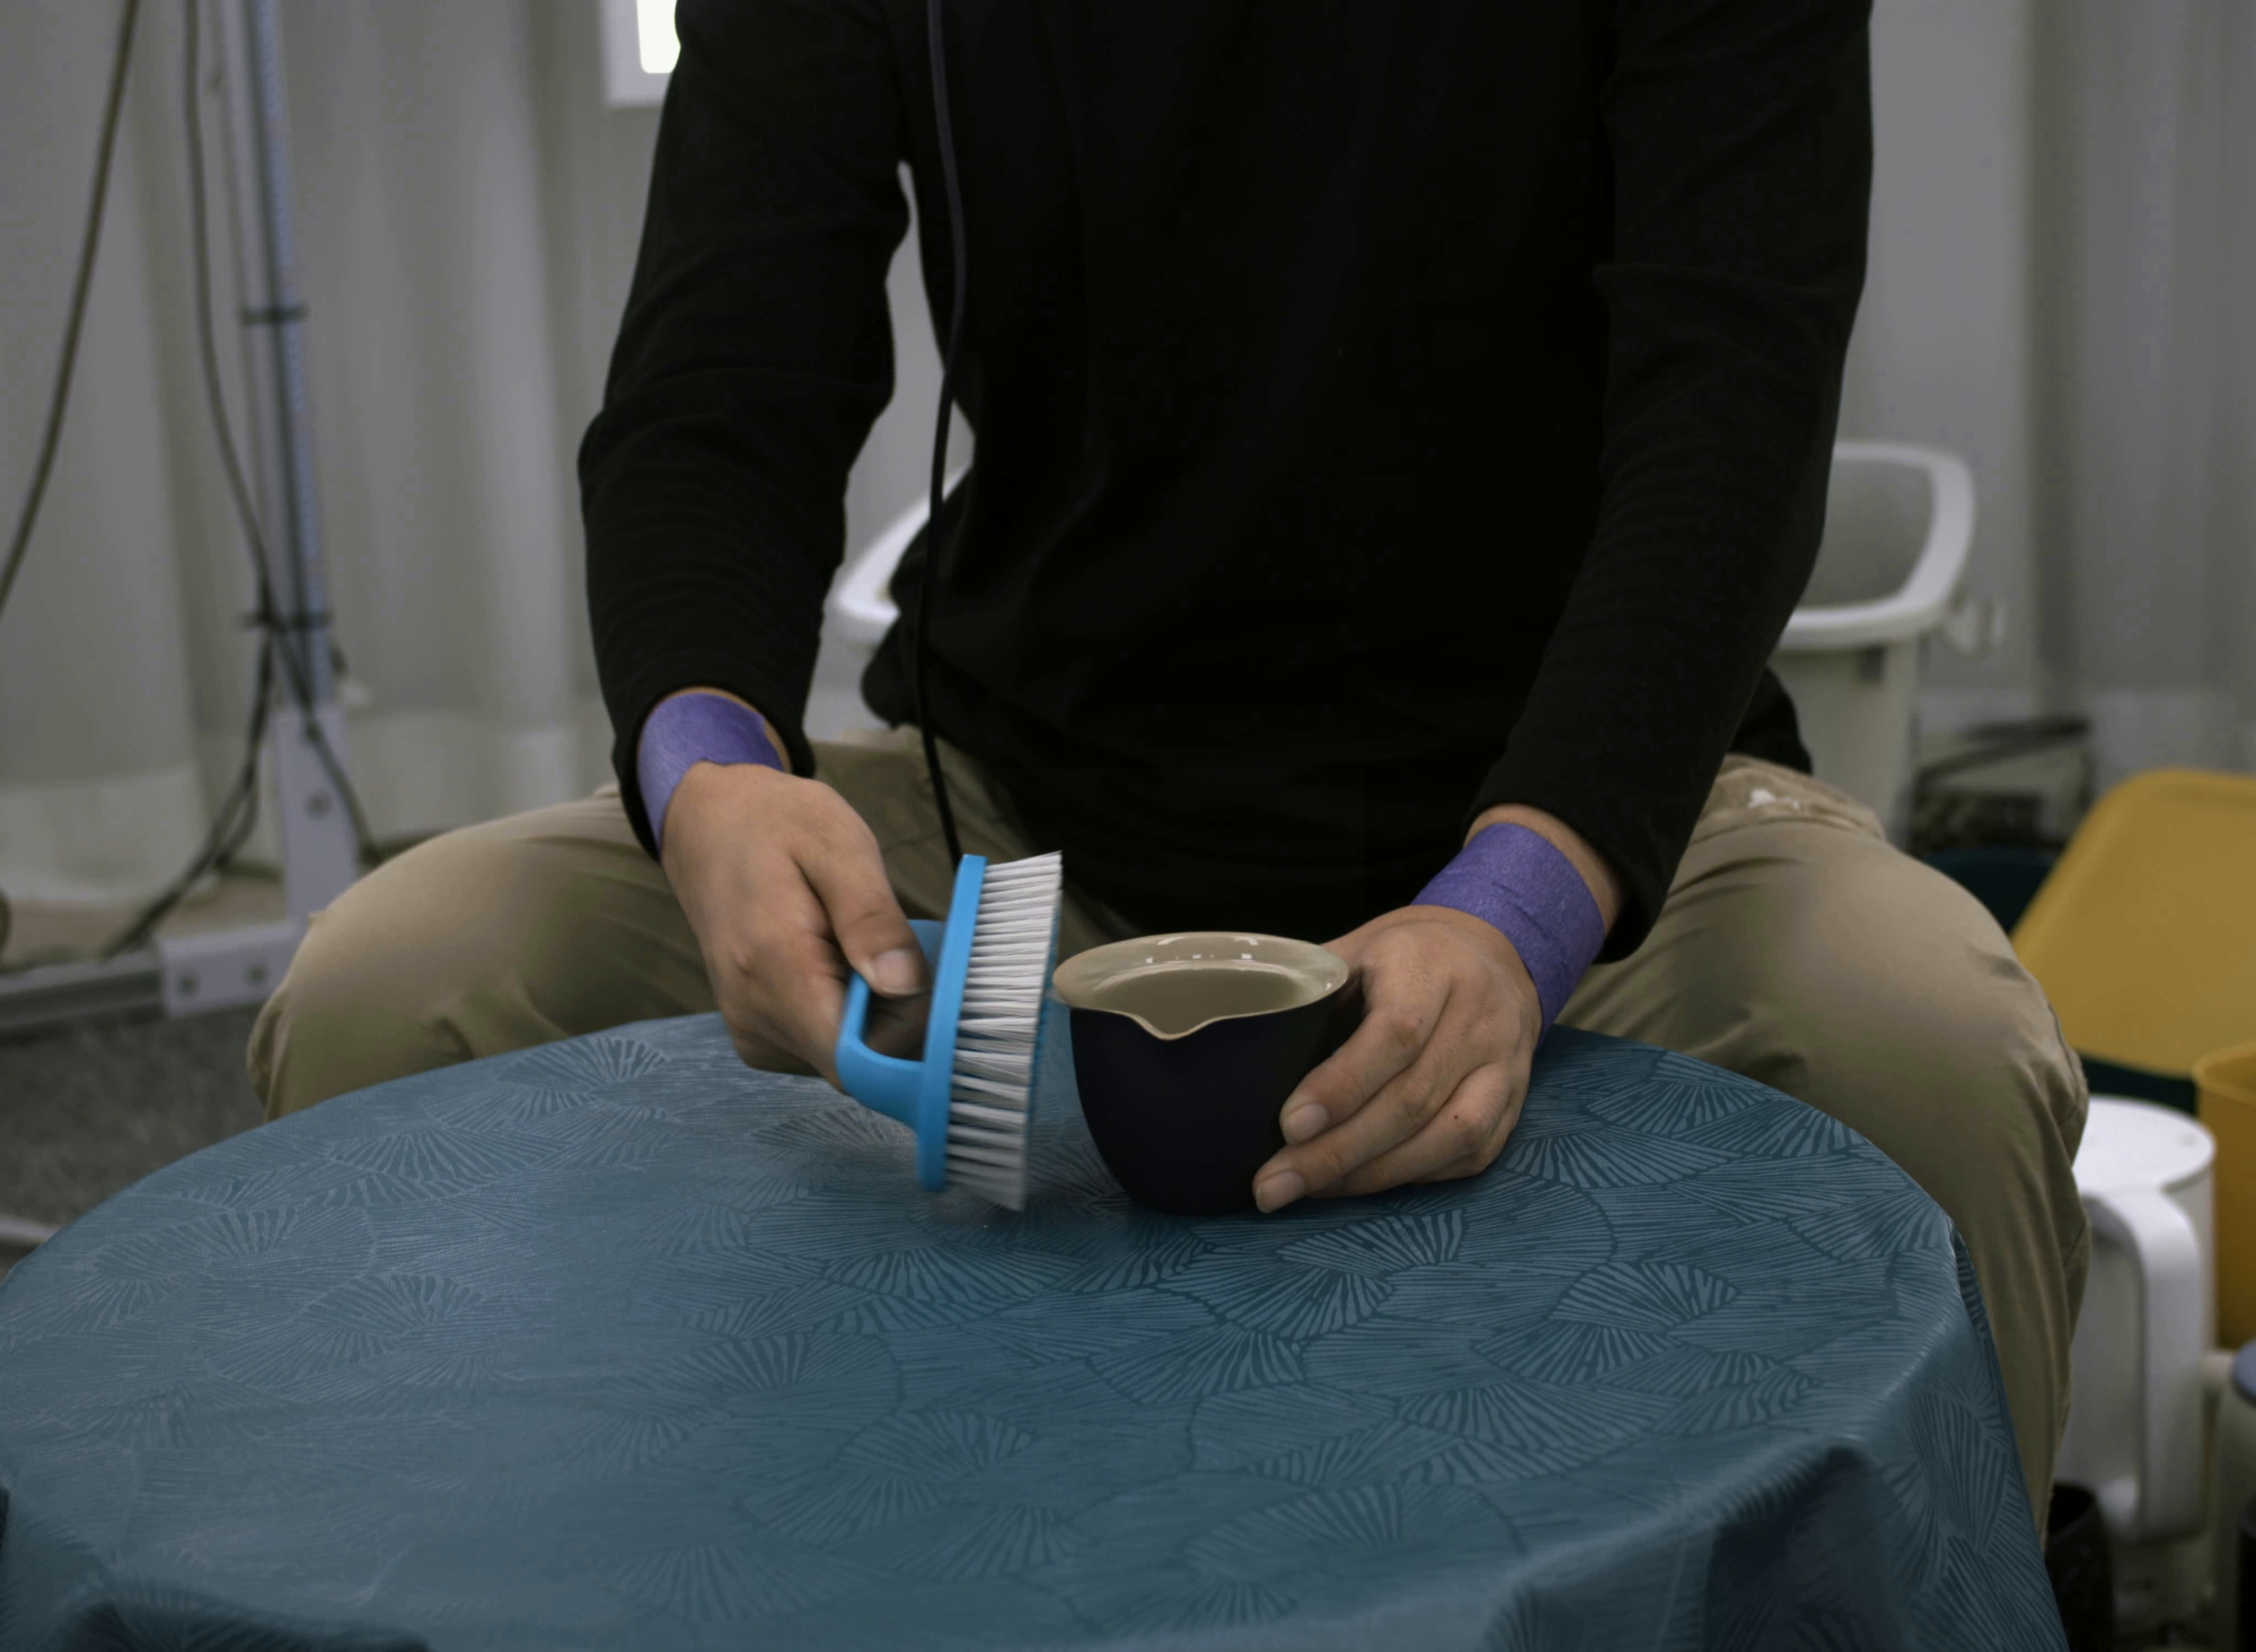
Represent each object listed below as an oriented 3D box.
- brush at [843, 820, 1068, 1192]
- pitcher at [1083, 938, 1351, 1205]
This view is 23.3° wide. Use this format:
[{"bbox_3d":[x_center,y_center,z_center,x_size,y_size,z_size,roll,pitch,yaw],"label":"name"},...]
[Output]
[{"bbox_3d":[-0.056,0.058,1.730,0.063,0.083,0.143,1,34,5],"label":"brush"},{"bbox_3d":[0.026,0.078,1.701,0.083,0.071,0.096,5,18,17],"label":"pitcher"}]
